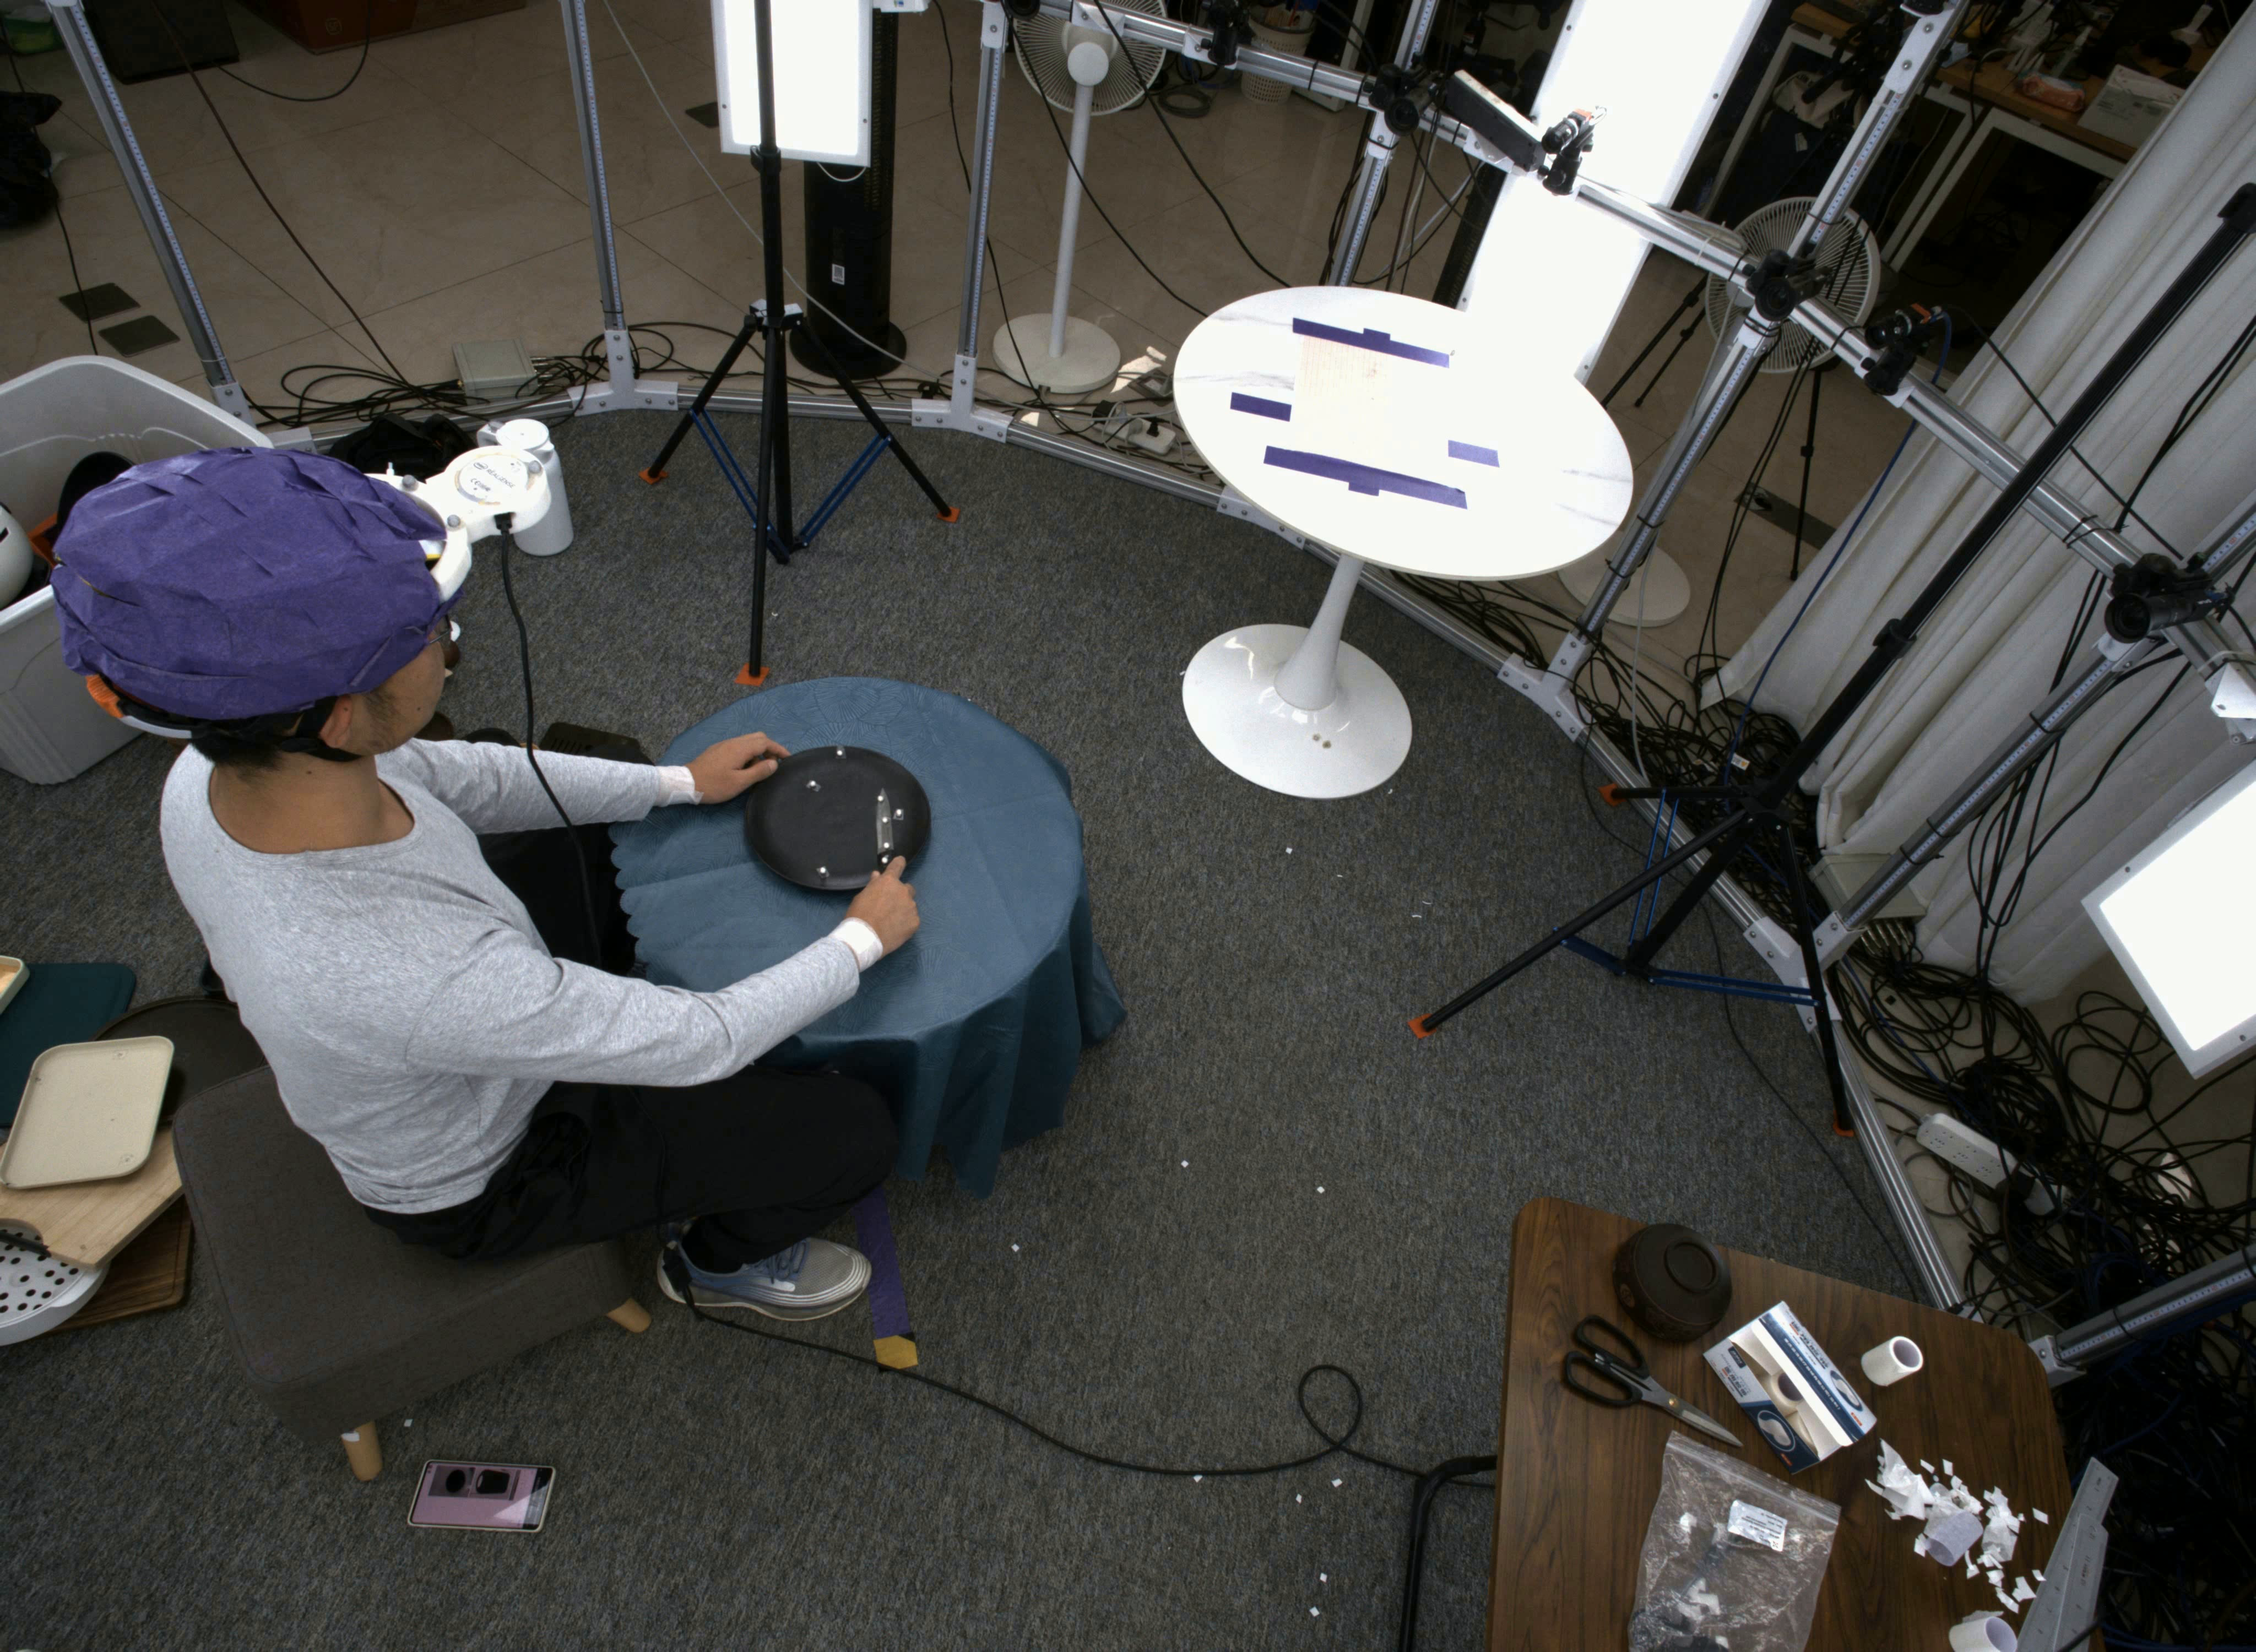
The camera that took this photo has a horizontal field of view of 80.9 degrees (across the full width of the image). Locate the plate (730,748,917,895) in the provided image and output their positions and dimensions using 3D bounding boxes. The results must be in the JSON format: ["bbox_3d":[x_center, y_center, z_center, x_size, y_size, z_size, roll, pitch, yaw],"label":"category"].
[{"bbox_3d":[-0.404,-0.006,1.730,0.244,0.024,0.240,8,53,-9],"label":"plate"}]

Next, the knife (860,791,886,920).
[{"bbox_3d":[-0.334,0.030,1.700,0.024,0.017,0.231,-16,47,-1],"label":"knife"}]
